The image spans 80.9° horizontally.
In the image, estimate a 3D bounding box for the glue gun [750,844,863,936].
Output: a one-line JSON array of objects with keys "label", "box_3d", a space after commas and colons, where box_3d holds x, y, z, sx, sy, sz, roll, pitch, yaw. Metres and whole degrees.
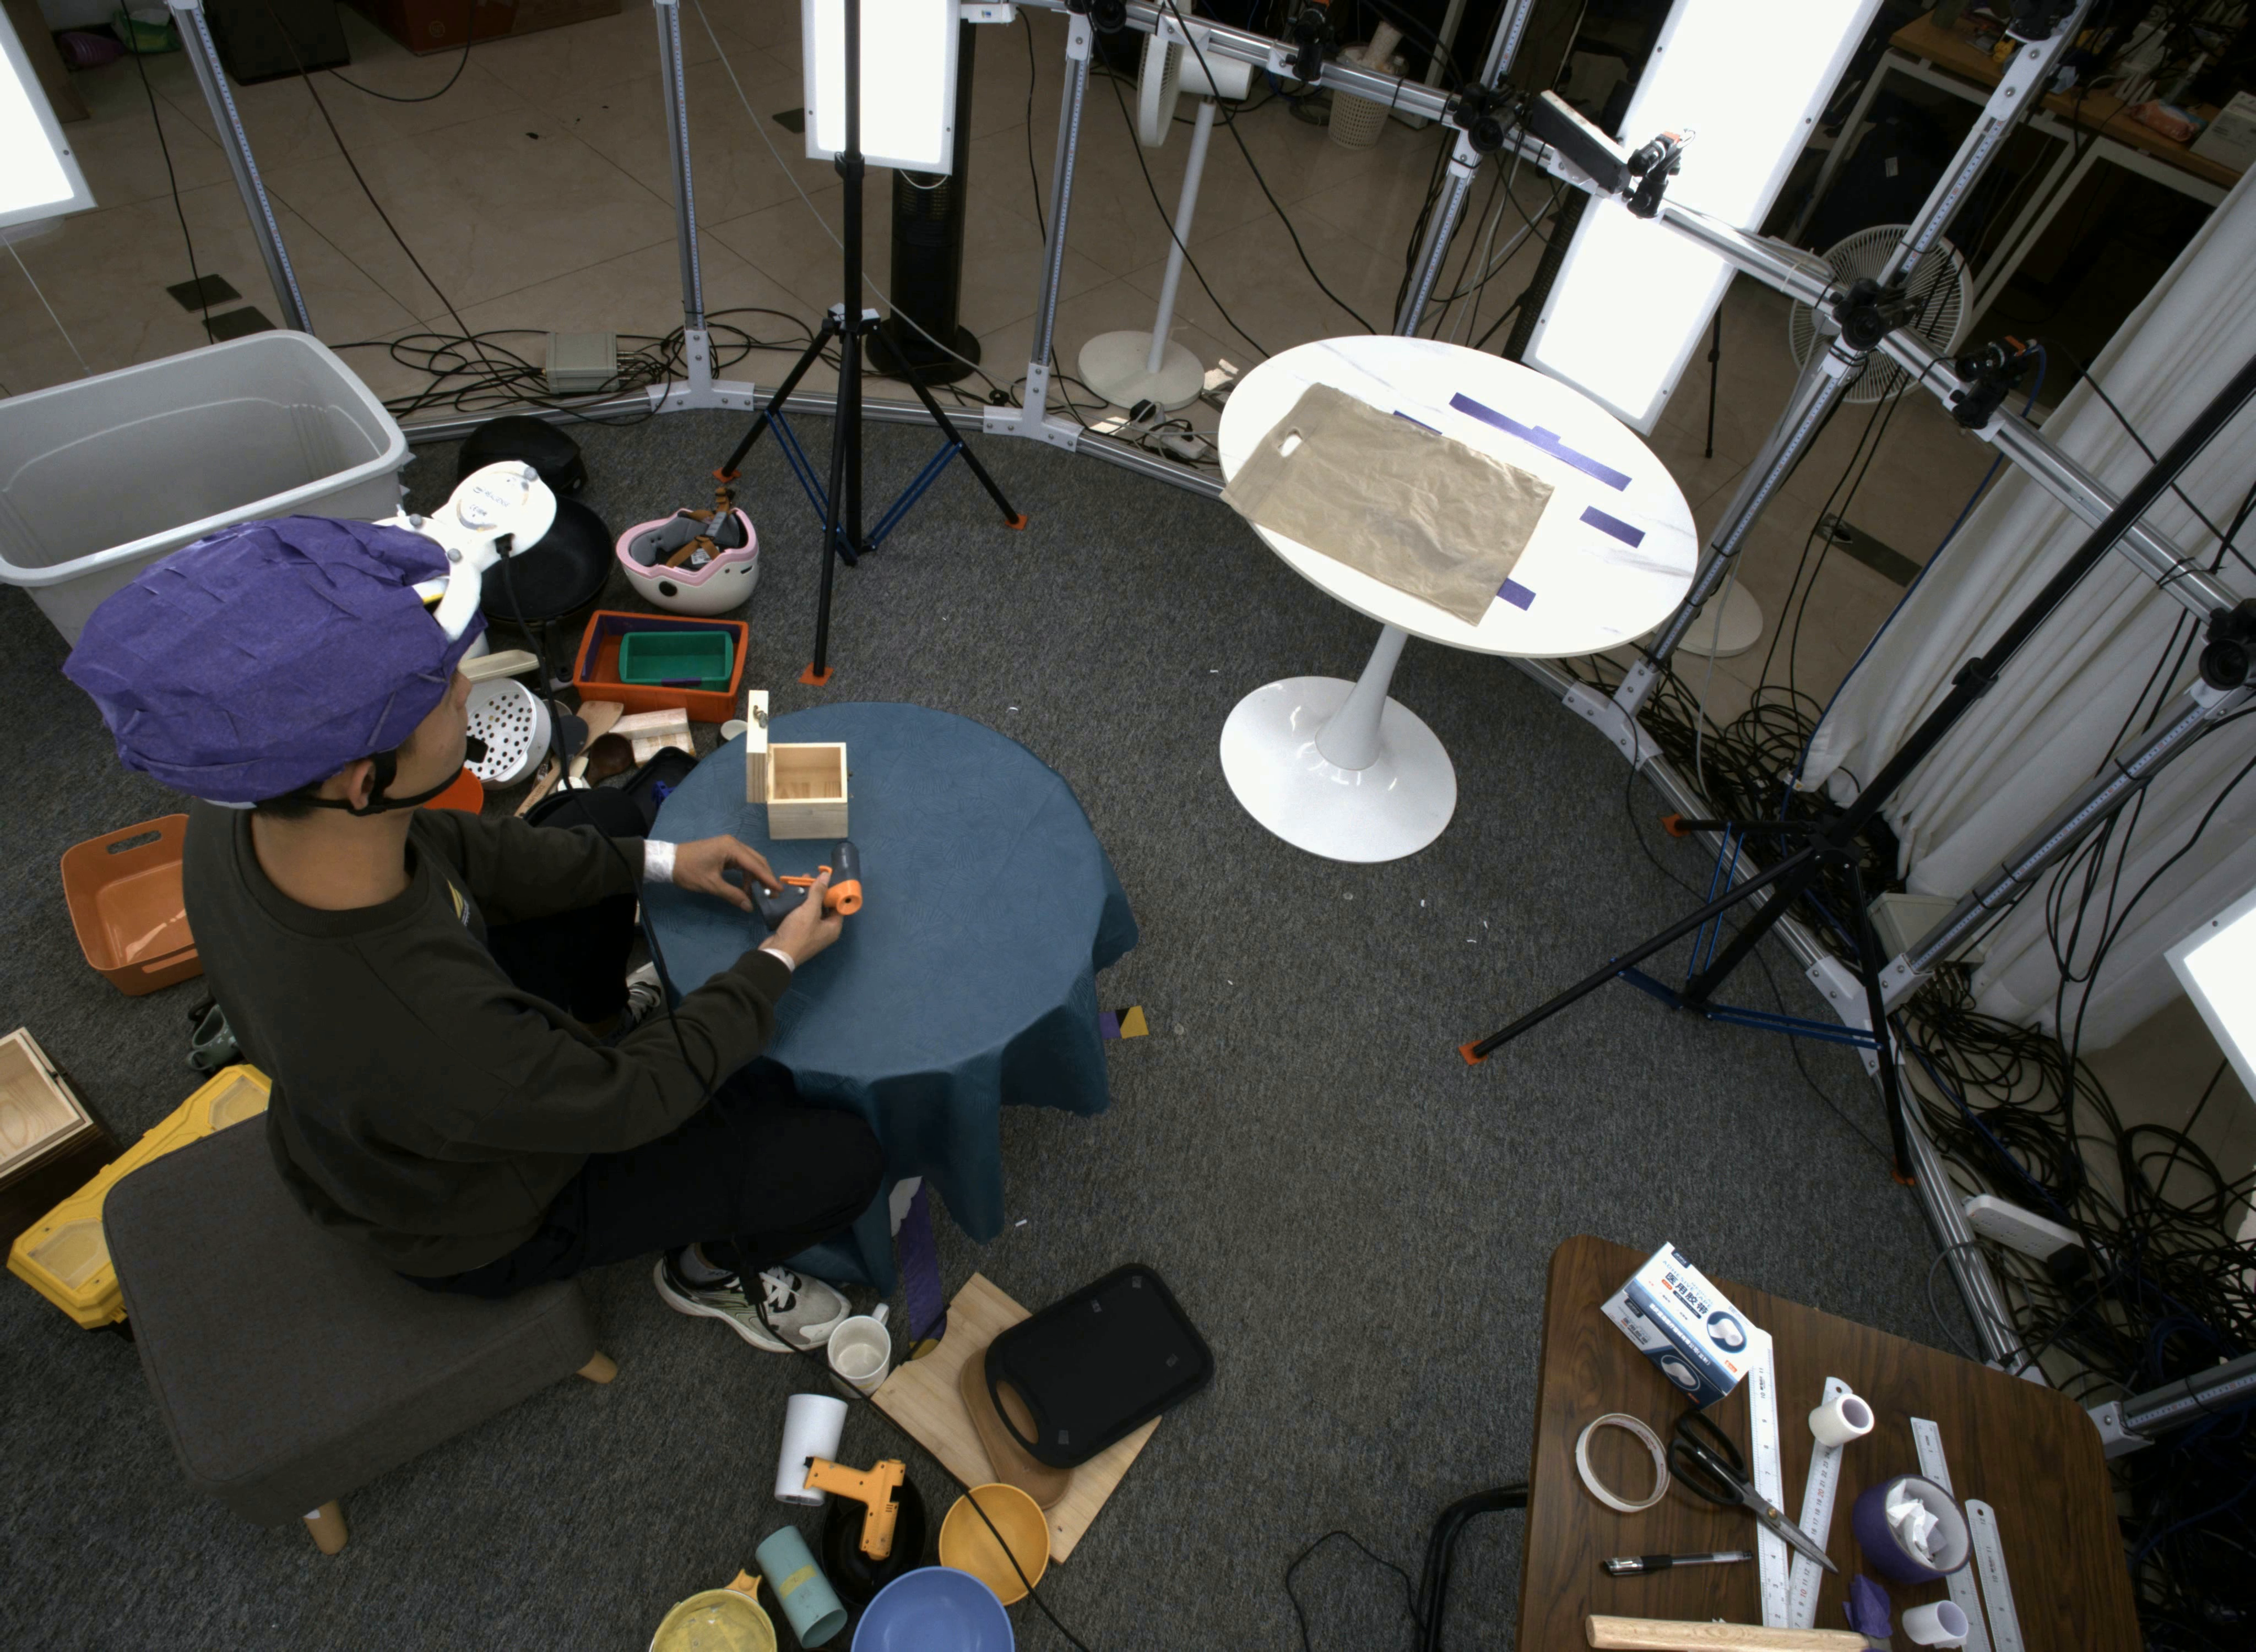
[{"label": "glue gun", "box_3d": [-0.388, 0.074, 1.594, 0.140, 0.042, 0.113, -23, 39, -21]}]

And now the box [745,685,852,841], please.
[{"label": "box", "box_3d": [-0.421, -0.080, 1.659, 0.134, 0.188, 0.100, -3, 53, -15]}]
